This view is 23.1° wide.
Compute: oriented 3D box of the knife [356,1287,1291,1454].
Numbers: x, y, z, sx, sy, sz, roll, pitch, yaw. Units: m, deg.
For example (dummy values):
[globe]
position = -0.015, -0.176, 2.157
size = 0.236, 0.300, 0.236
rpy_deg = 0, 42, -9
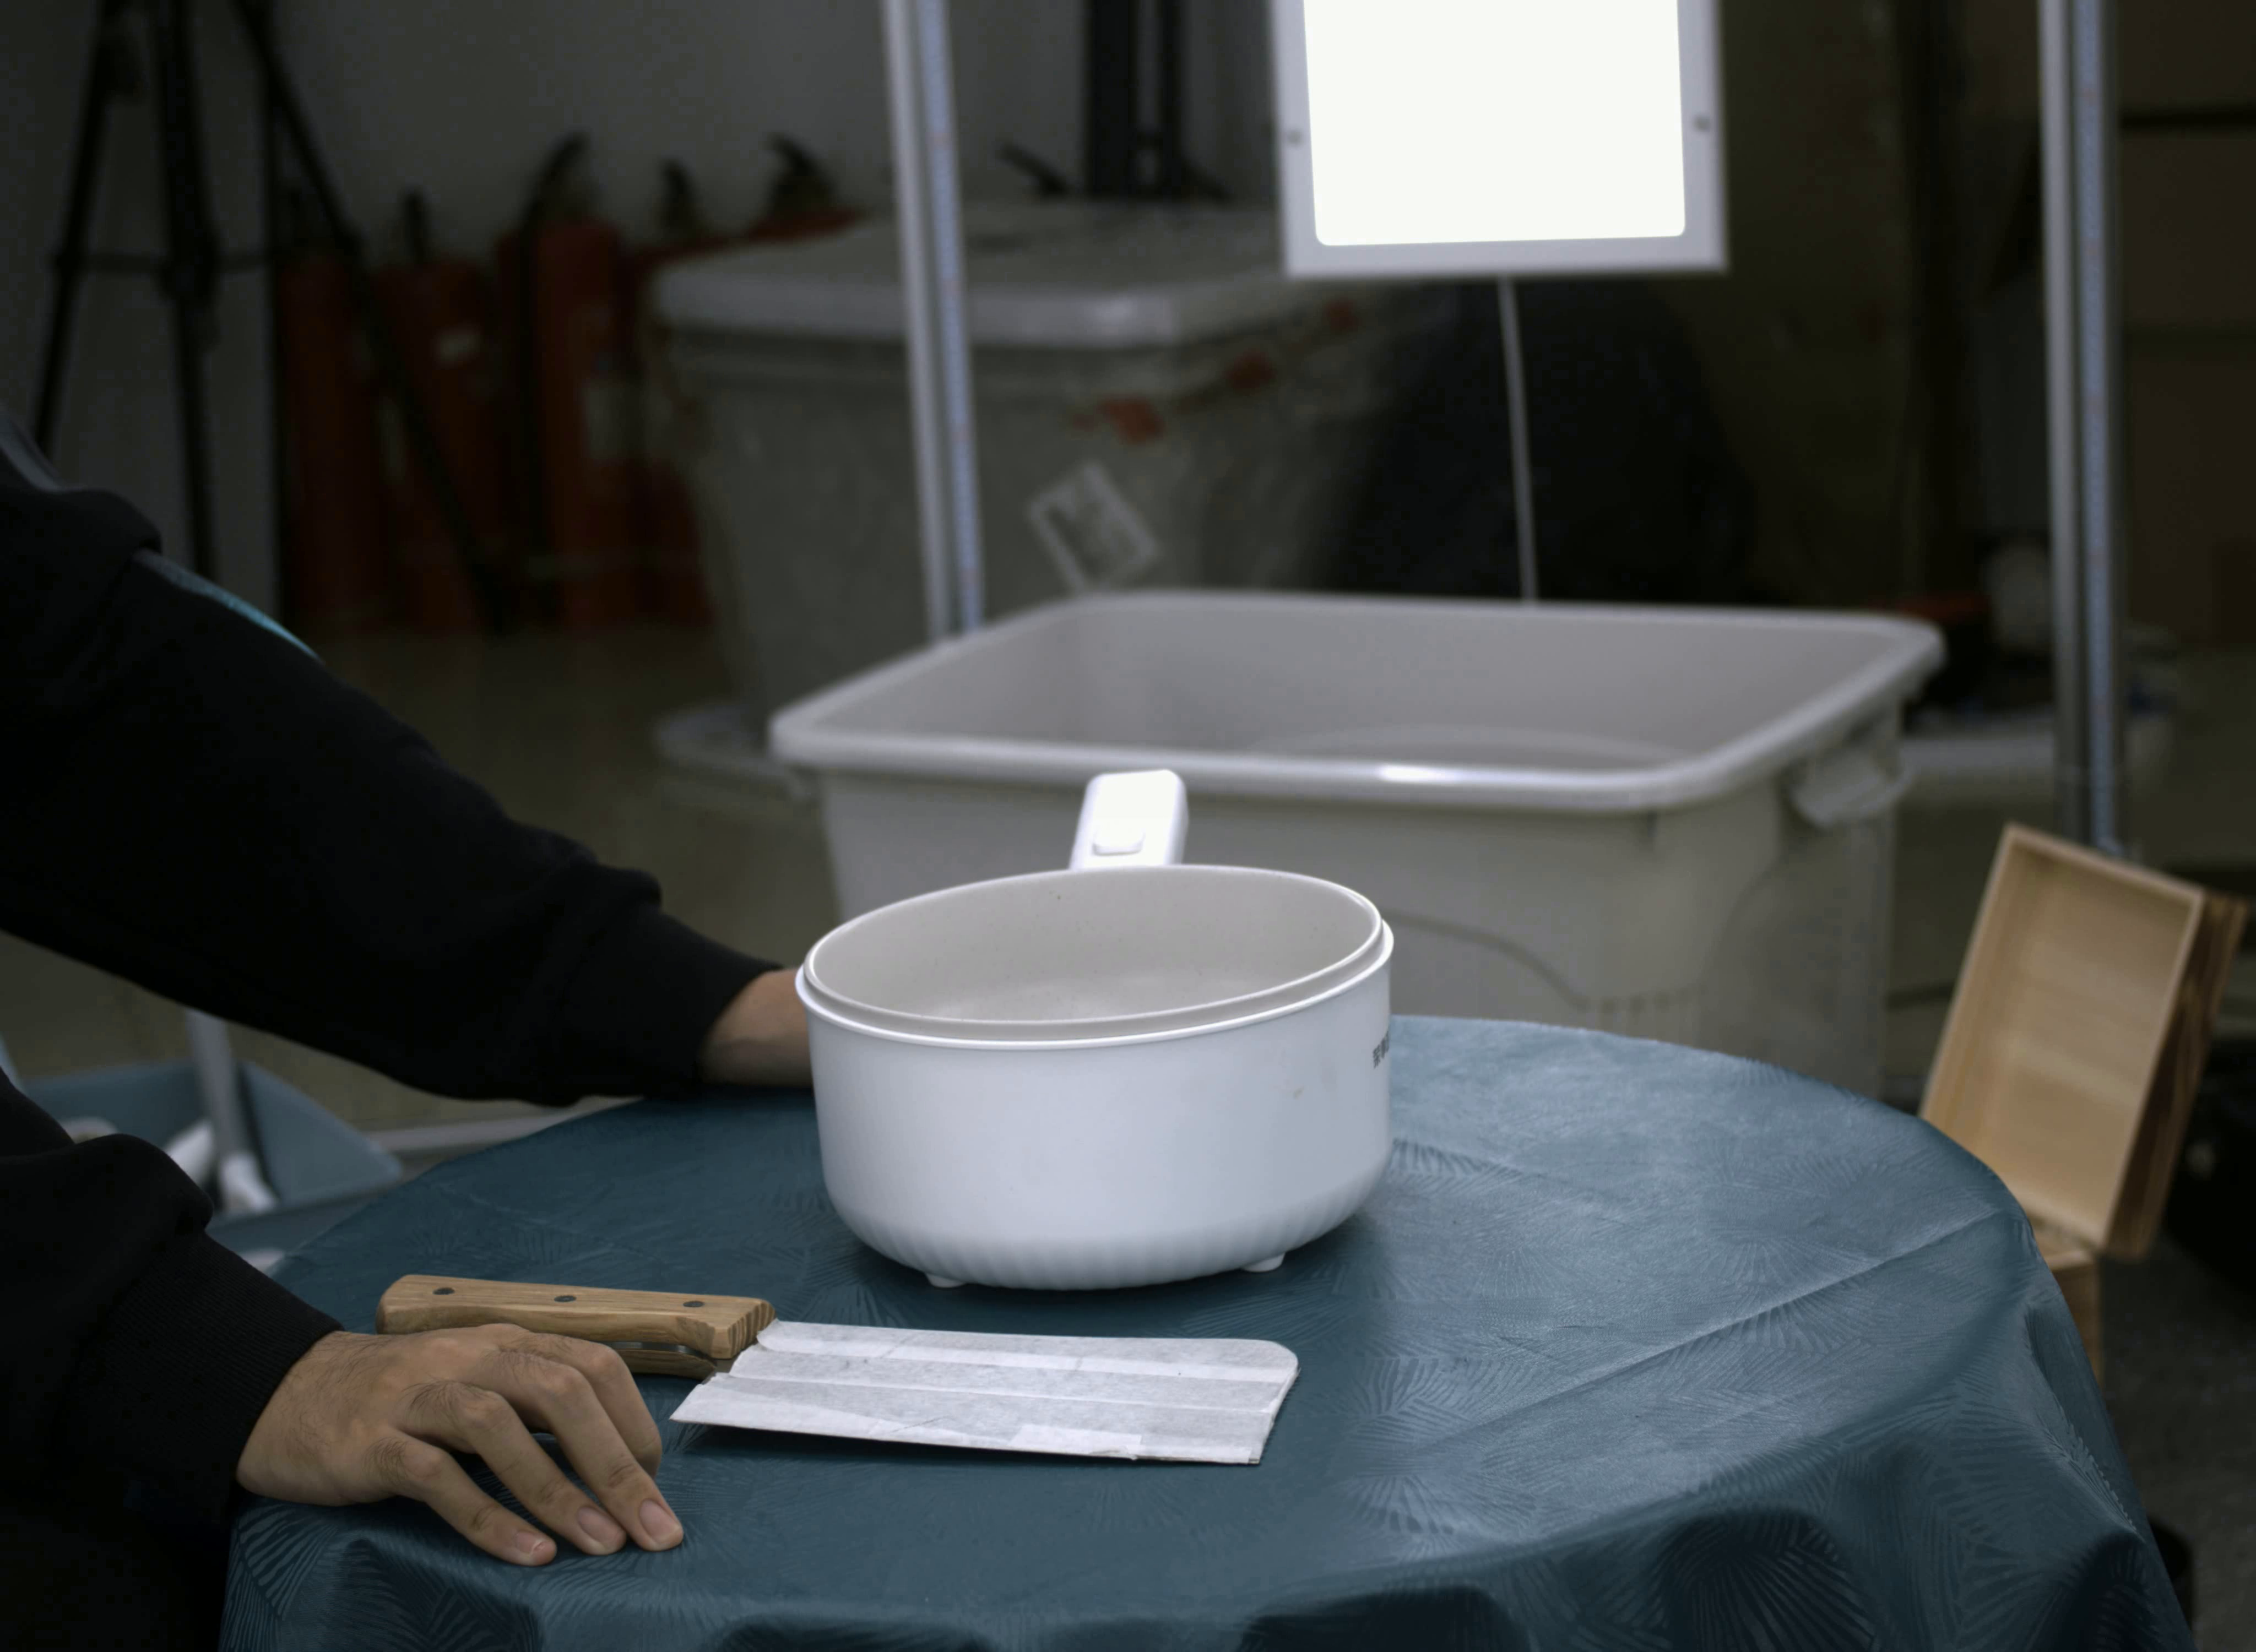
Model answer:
[knife]
position = -0.097, 0.169, 1.723
size = 0.319, 0.022, 0.112
rpy_deg = 3, 16, 21

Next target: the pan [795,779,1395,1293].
[pan]
position = -0.003, 0.070, 1.925
size = 0.202, 0.102, 0.352
rpy_deg = -5, 13, 5
